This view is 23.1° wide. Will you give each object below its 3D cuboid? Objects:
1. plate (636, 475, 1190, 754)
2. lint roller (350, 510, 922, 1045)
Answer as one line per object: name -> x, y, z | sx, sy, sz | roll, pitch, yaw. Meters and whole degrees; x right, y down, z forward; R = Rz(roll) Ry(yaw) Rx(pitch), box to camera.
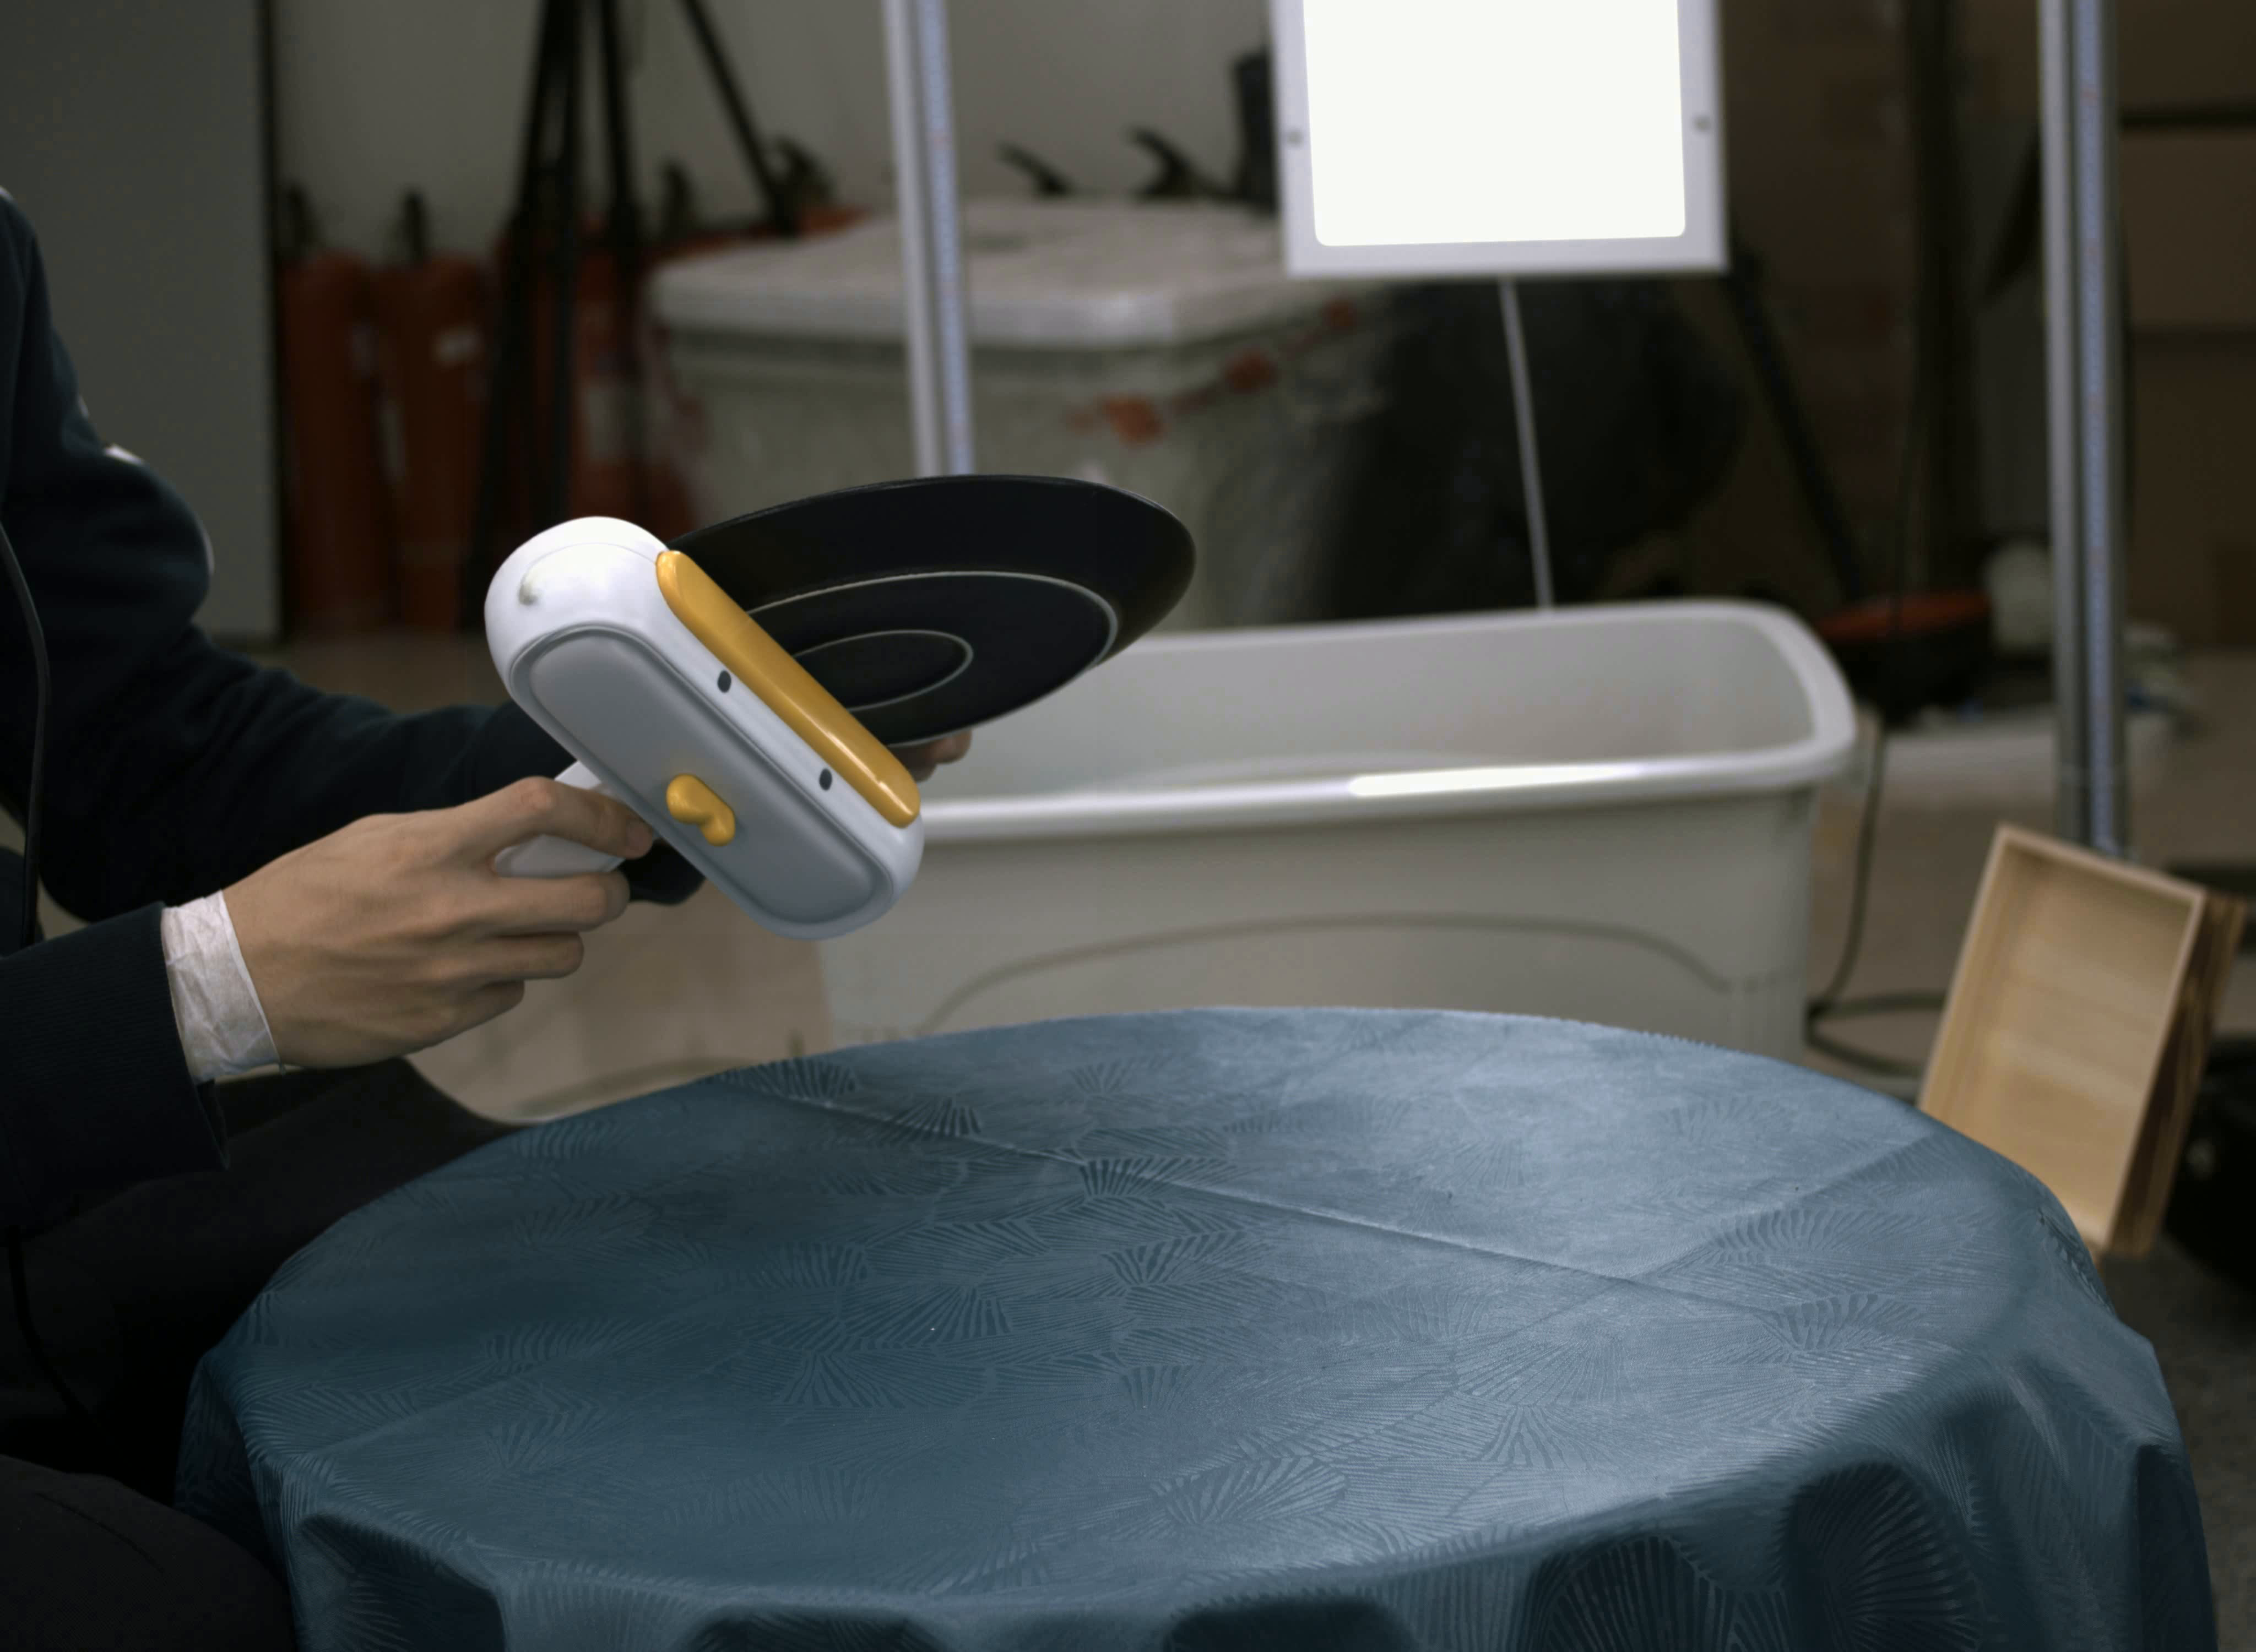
plate -> -0.095, -0.063, 1.919 | 0.243, 0.023, 0.245 | -10, -18, -5
lint roller -> -0.188, 0.002, 1.857 | 0.195, 0.189, 0.074 | -34, 43, 22
